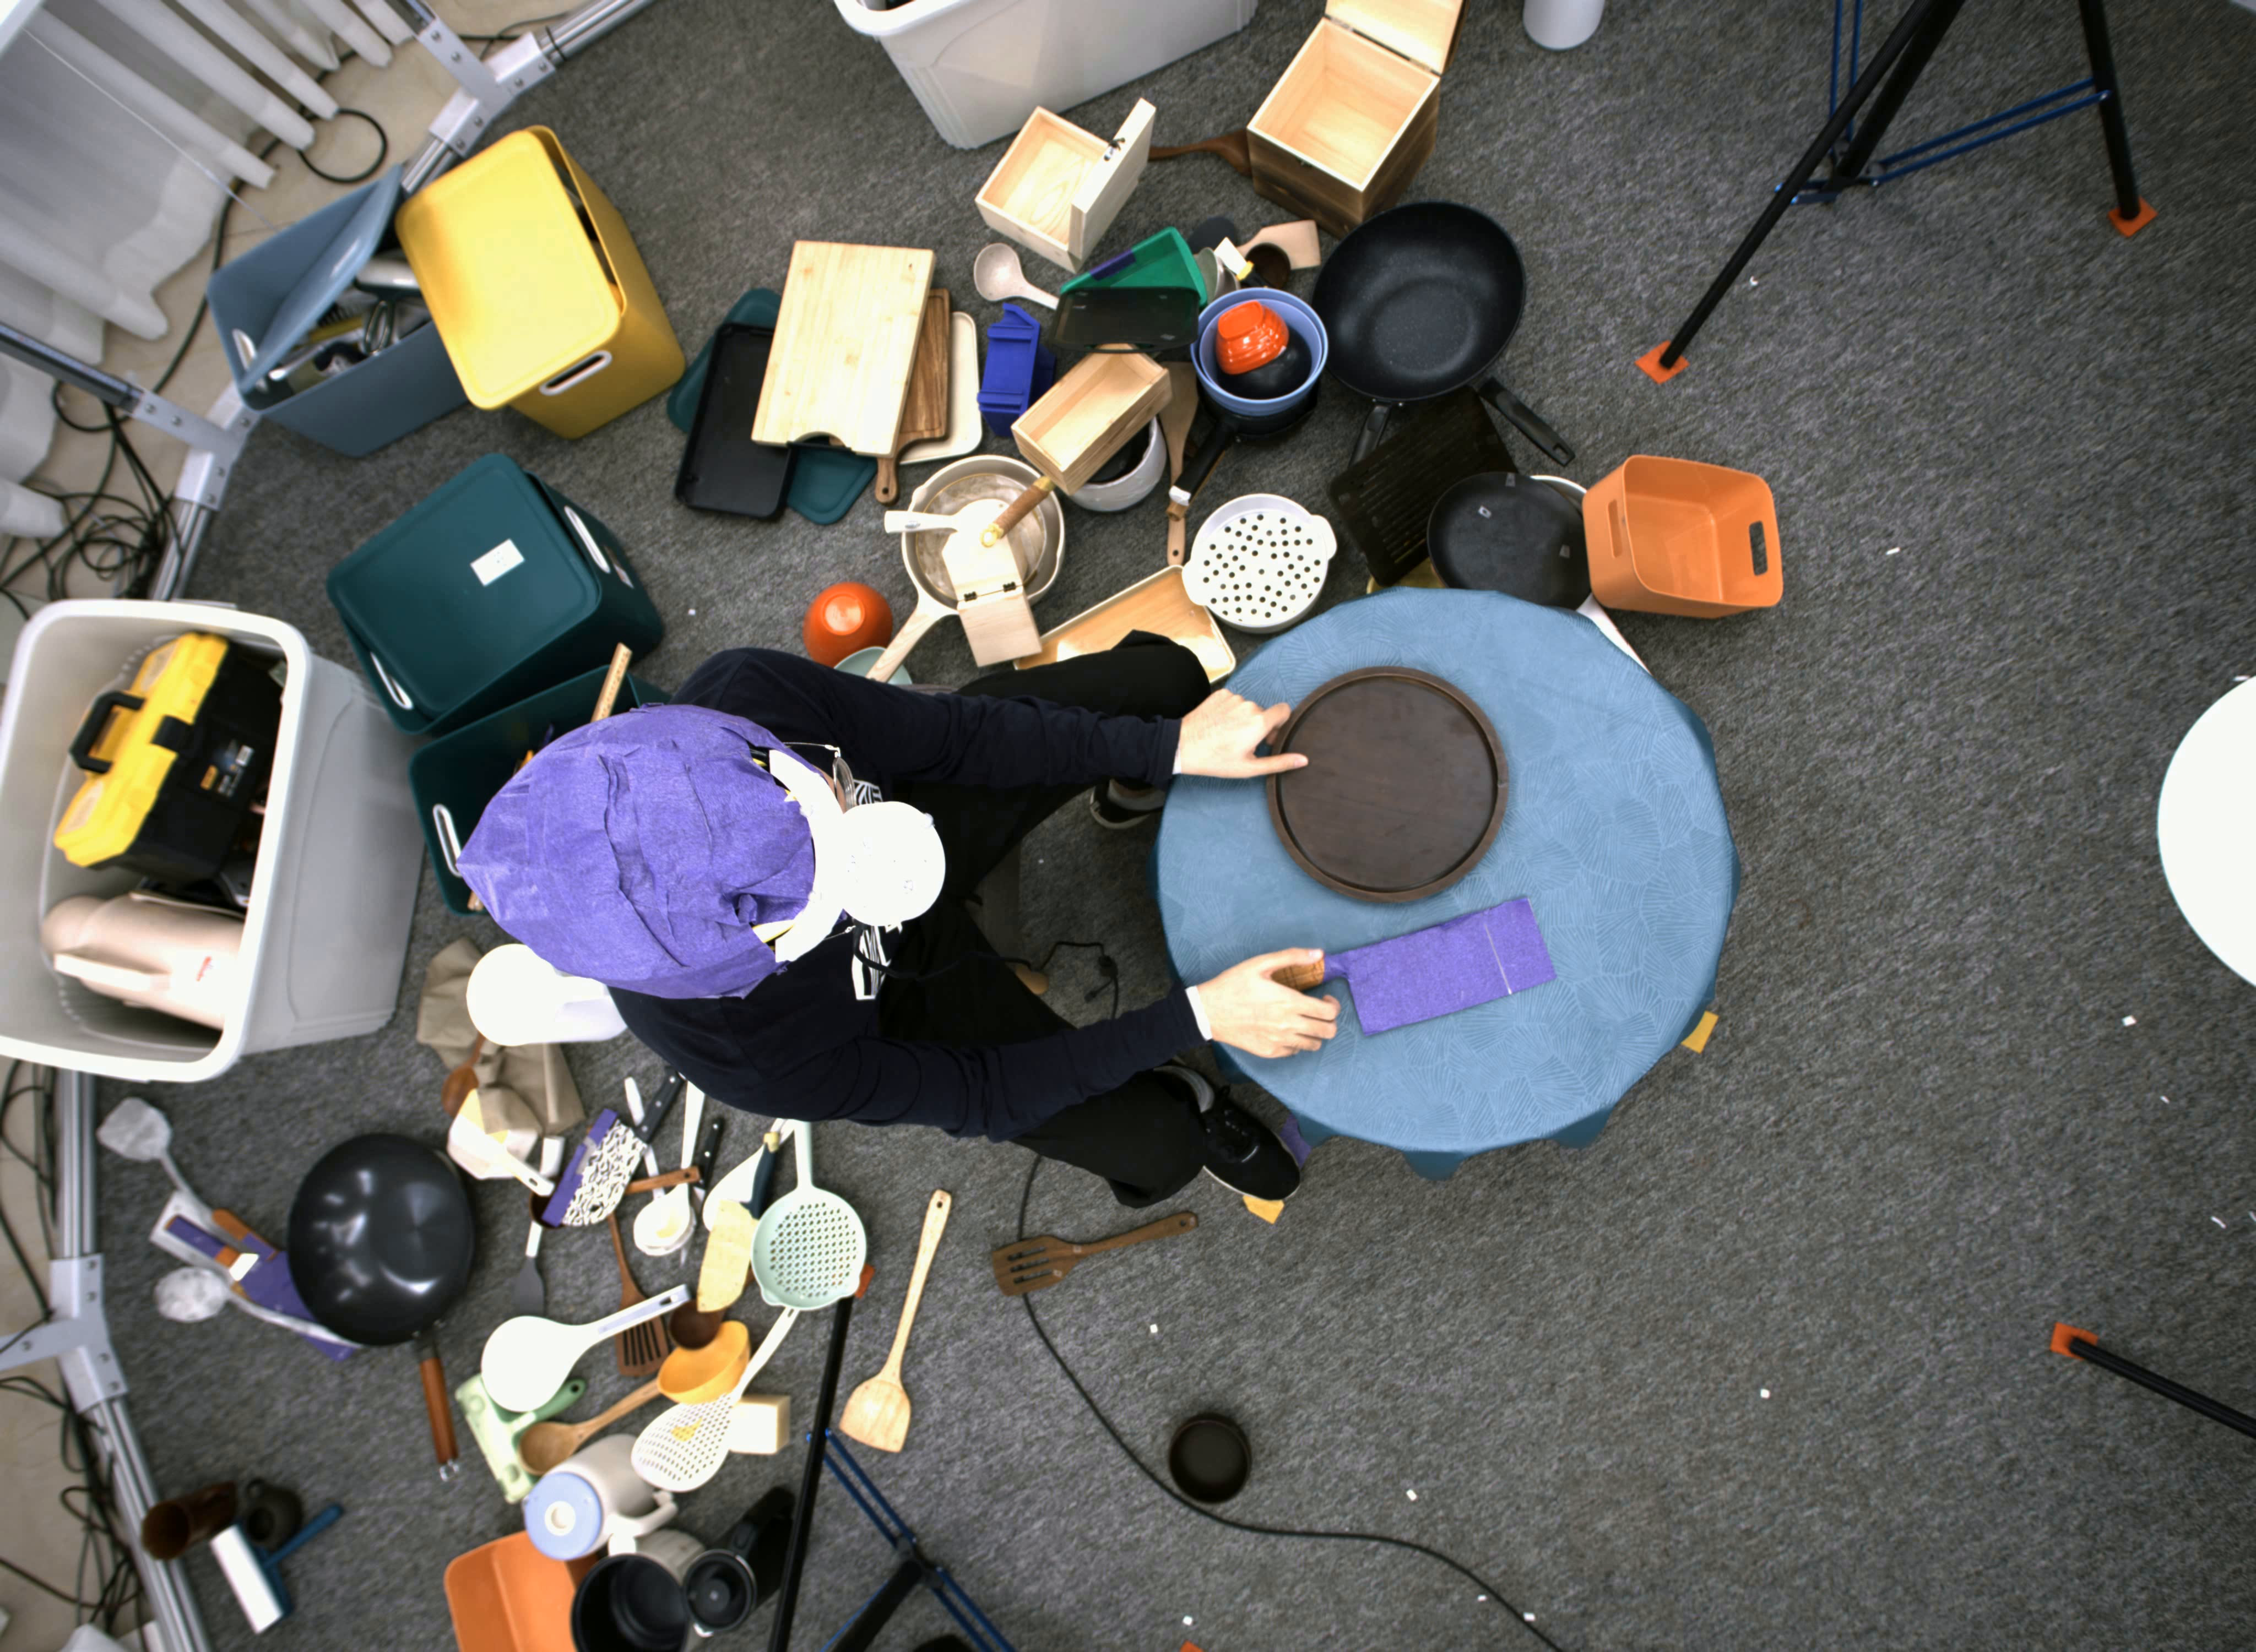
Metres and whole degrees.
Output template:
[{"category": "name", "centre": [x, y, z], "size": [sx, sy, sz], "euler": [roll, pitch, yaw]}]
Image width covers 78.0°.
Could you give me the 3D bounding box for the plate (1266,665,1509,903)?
[{"category": "plate", "centre": [0.272, -0.046, 1.454], "size": [0.256, 0.029, 0.253], "euler": [-1, 86, 10]}]

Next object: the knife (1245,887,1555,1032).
[{"category": "knife", "centre": [0.283, 0.157, 1.439], "size": [0.317, 0.032, 0.103], "euler": [-19, 83, 9]}]
